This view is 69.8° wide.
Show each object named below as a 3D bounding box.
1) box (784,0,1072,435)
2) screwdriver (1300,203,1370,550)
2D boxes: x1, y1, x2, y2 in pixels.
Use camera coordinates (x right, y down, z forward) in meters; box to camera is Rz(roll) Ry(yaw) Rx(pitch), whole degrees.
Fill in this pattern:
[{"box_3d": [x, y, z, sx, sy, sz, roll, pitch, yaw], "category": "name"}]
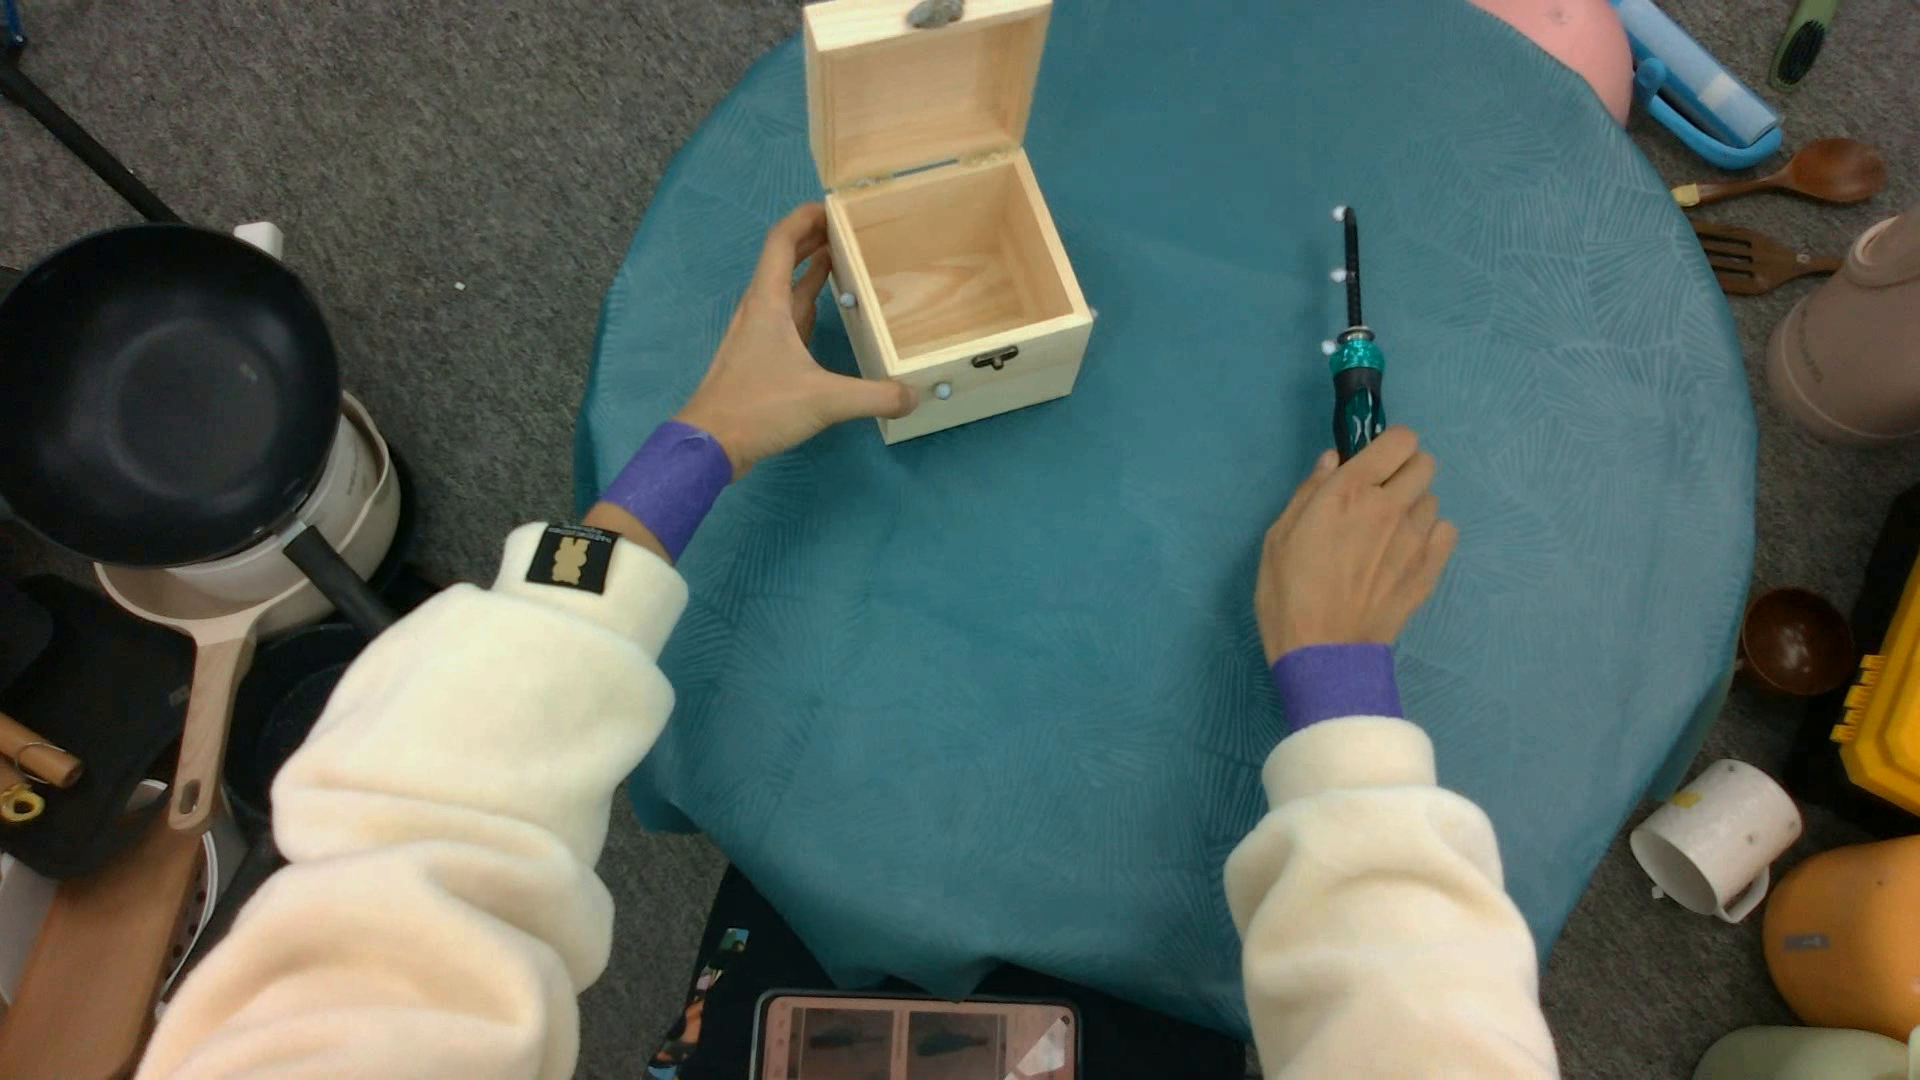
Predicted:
[{"box_3d": [-0.012, -0.152, 0.641, 0.103, 0.184, 0.134, -17, 70, -11], "category": "box"}, {"box_3d": [0.187, -0.088, 0.694, 0.034, 0.033, 0.190, 3, 70, 1], "category": "screwdriver"}]
